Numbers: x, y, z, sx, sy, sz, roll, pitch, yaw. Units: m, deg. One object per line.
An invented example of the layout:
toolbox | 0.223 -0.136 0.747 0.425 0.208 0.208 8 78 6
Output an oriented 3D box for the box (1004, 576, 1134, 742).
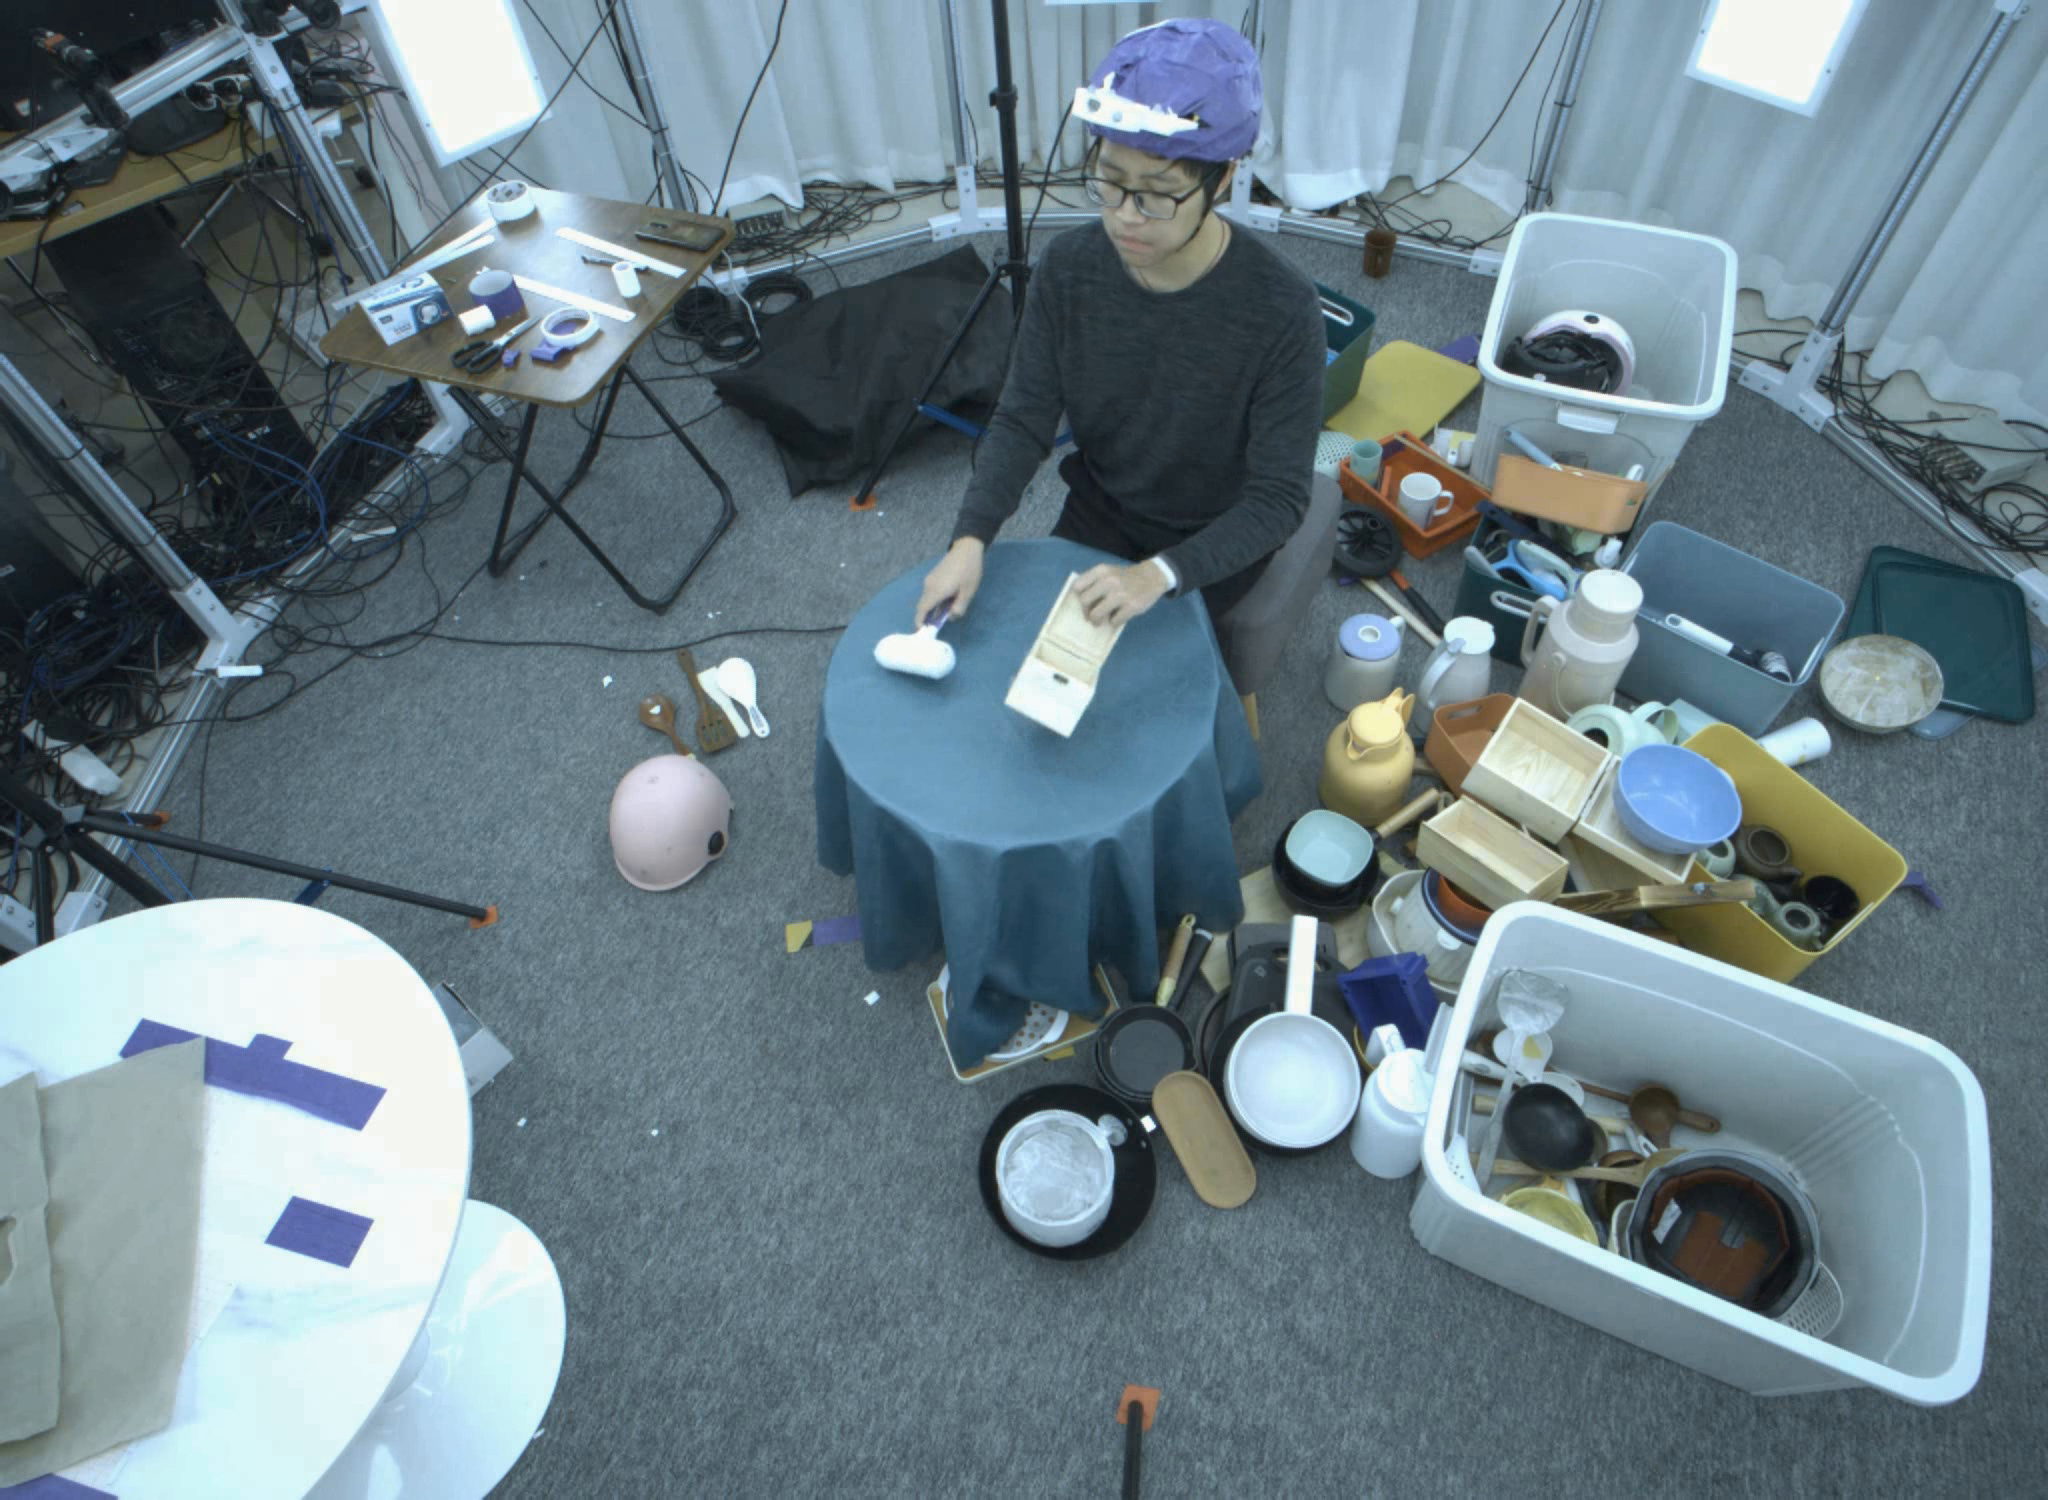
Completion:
box | 0.064 -0.128 1.713 0.103 0.184 0.133 27 23 -4

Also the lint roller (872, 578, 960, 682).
lint roller | -0.145 -0.194 1.871 0.130 0.051 0.180 17 74 25
